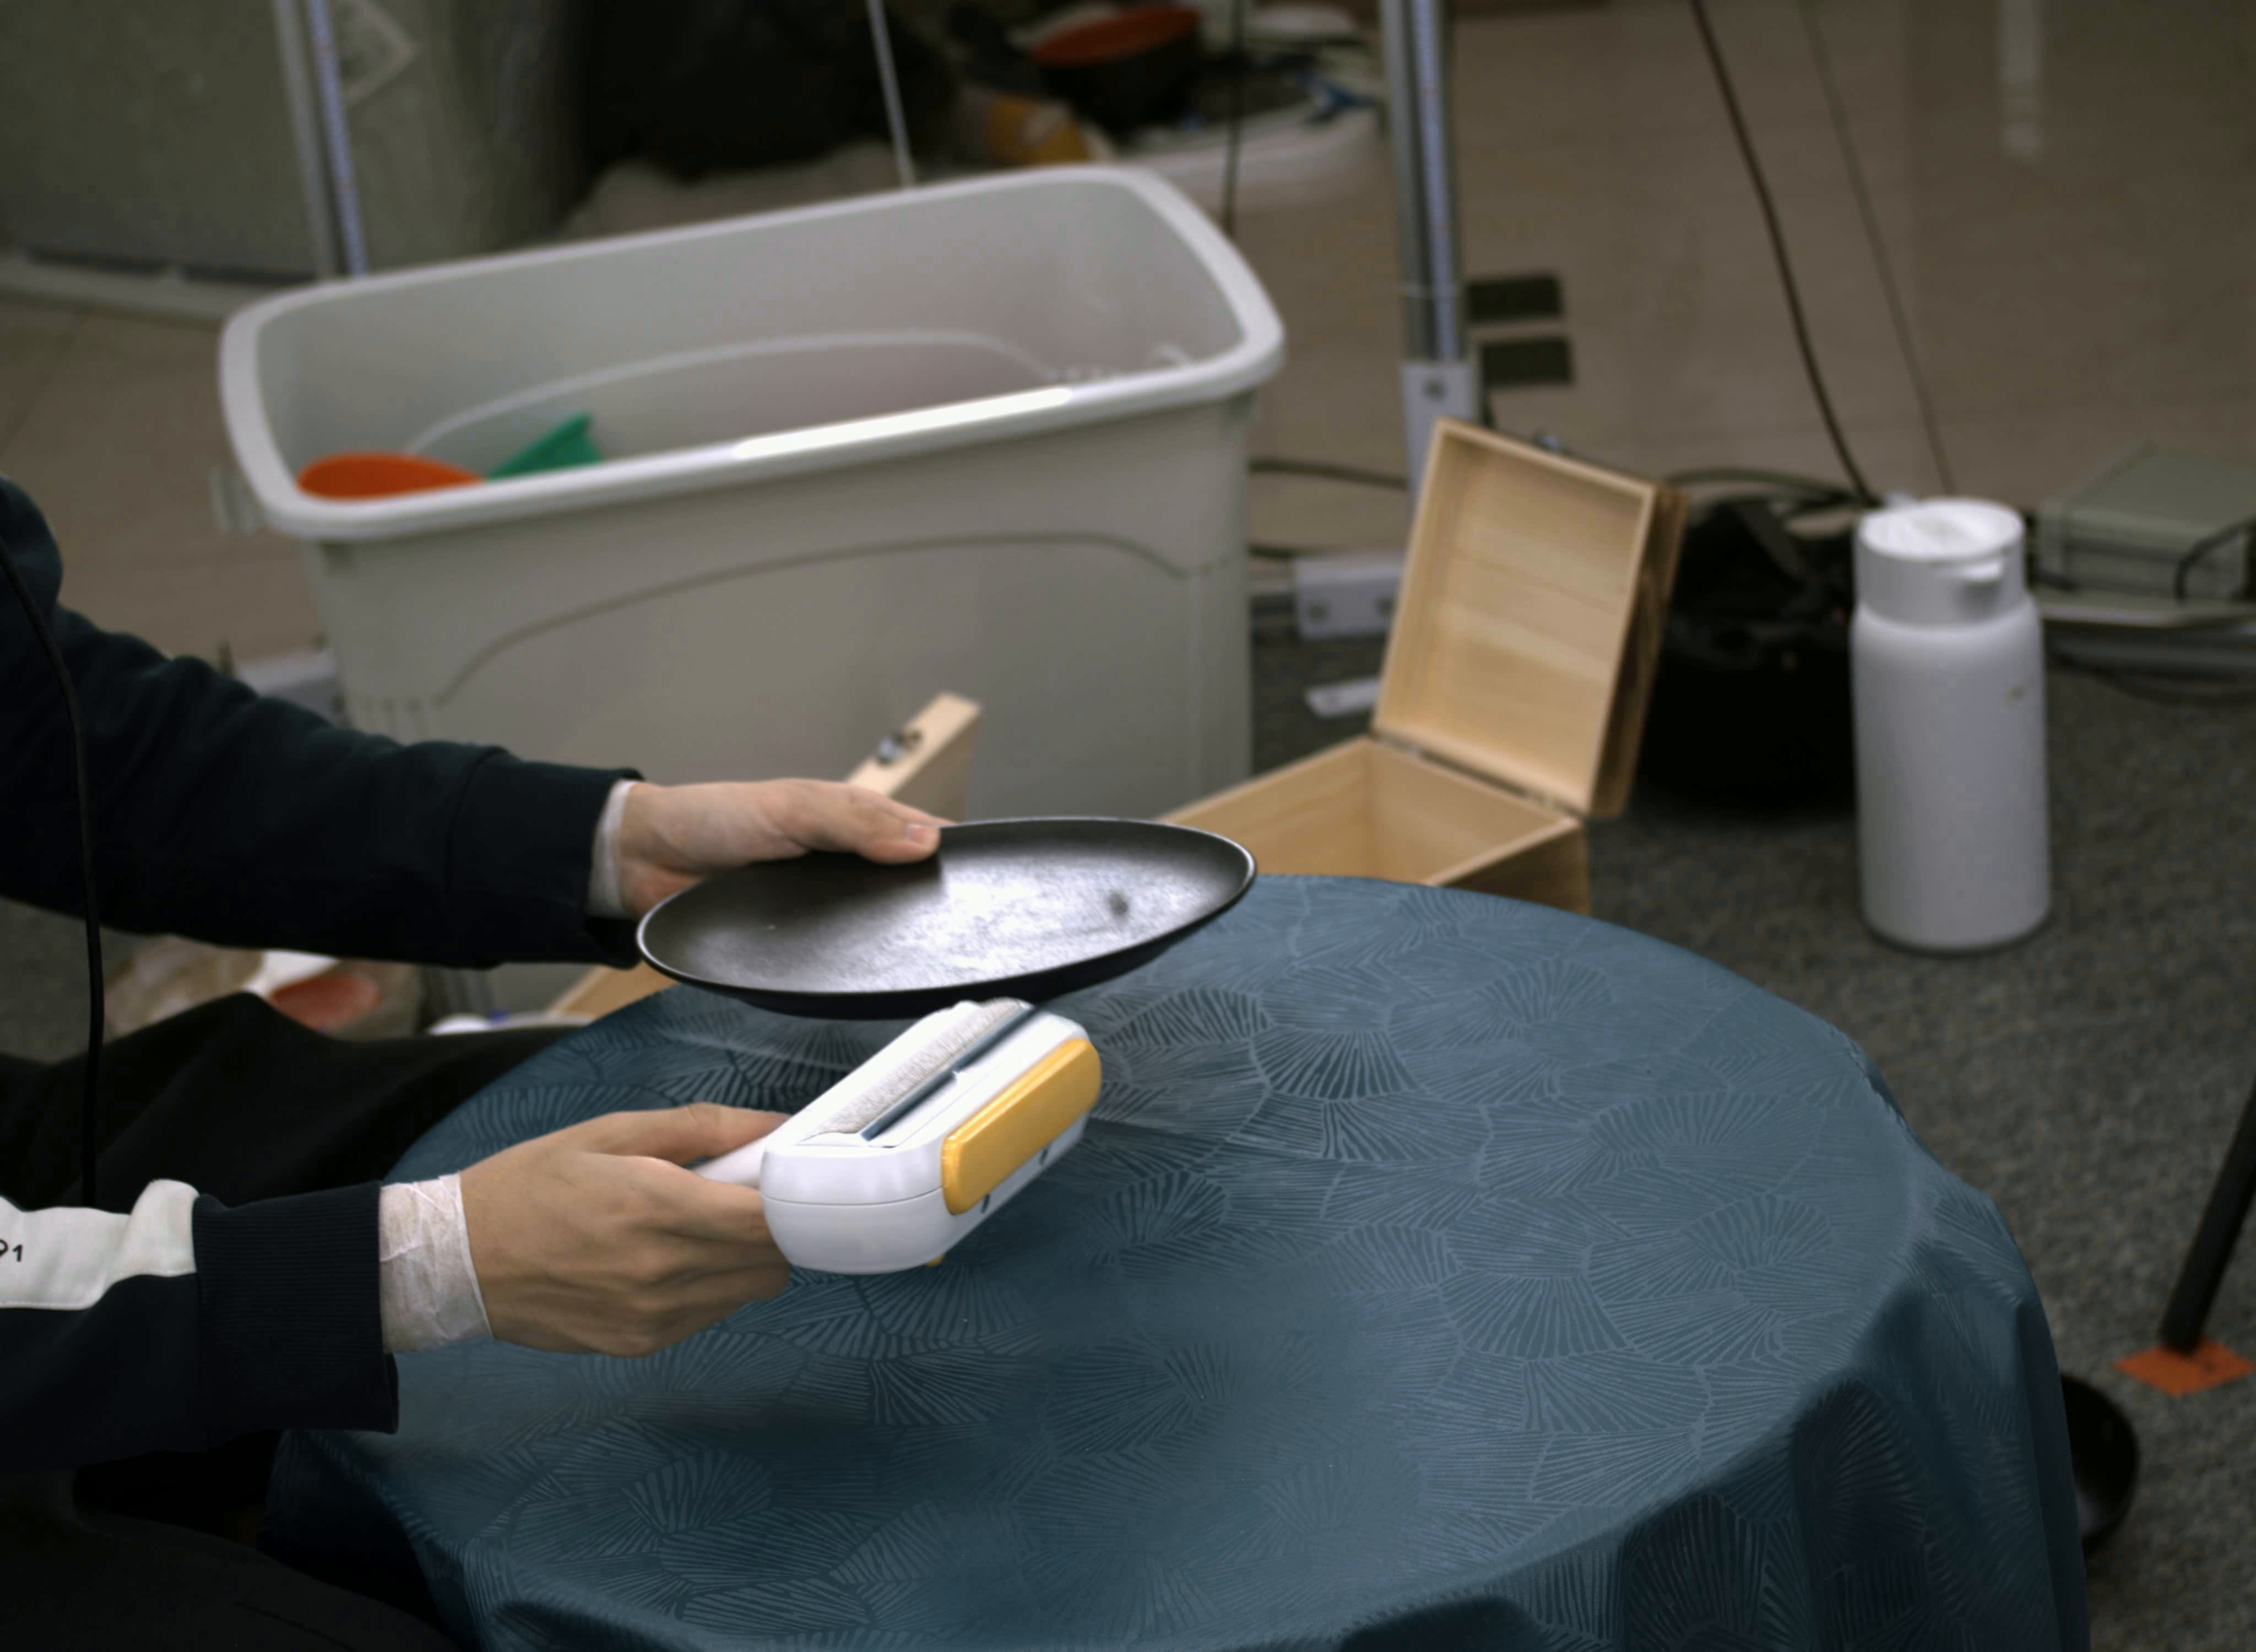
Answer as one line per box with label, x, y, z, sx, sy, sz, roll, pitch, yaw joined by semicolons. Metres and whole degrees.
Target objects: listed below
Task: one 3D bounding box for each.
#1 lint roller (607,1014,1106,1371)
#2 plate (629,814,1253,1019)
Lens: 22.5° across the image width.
lint roller;-0.114;0.137;1.989;0.193;0.074;0.191;-21;9;31
plate;-0.071;0.038;2.189;0.244;0.024;0.242;-6;14;2
